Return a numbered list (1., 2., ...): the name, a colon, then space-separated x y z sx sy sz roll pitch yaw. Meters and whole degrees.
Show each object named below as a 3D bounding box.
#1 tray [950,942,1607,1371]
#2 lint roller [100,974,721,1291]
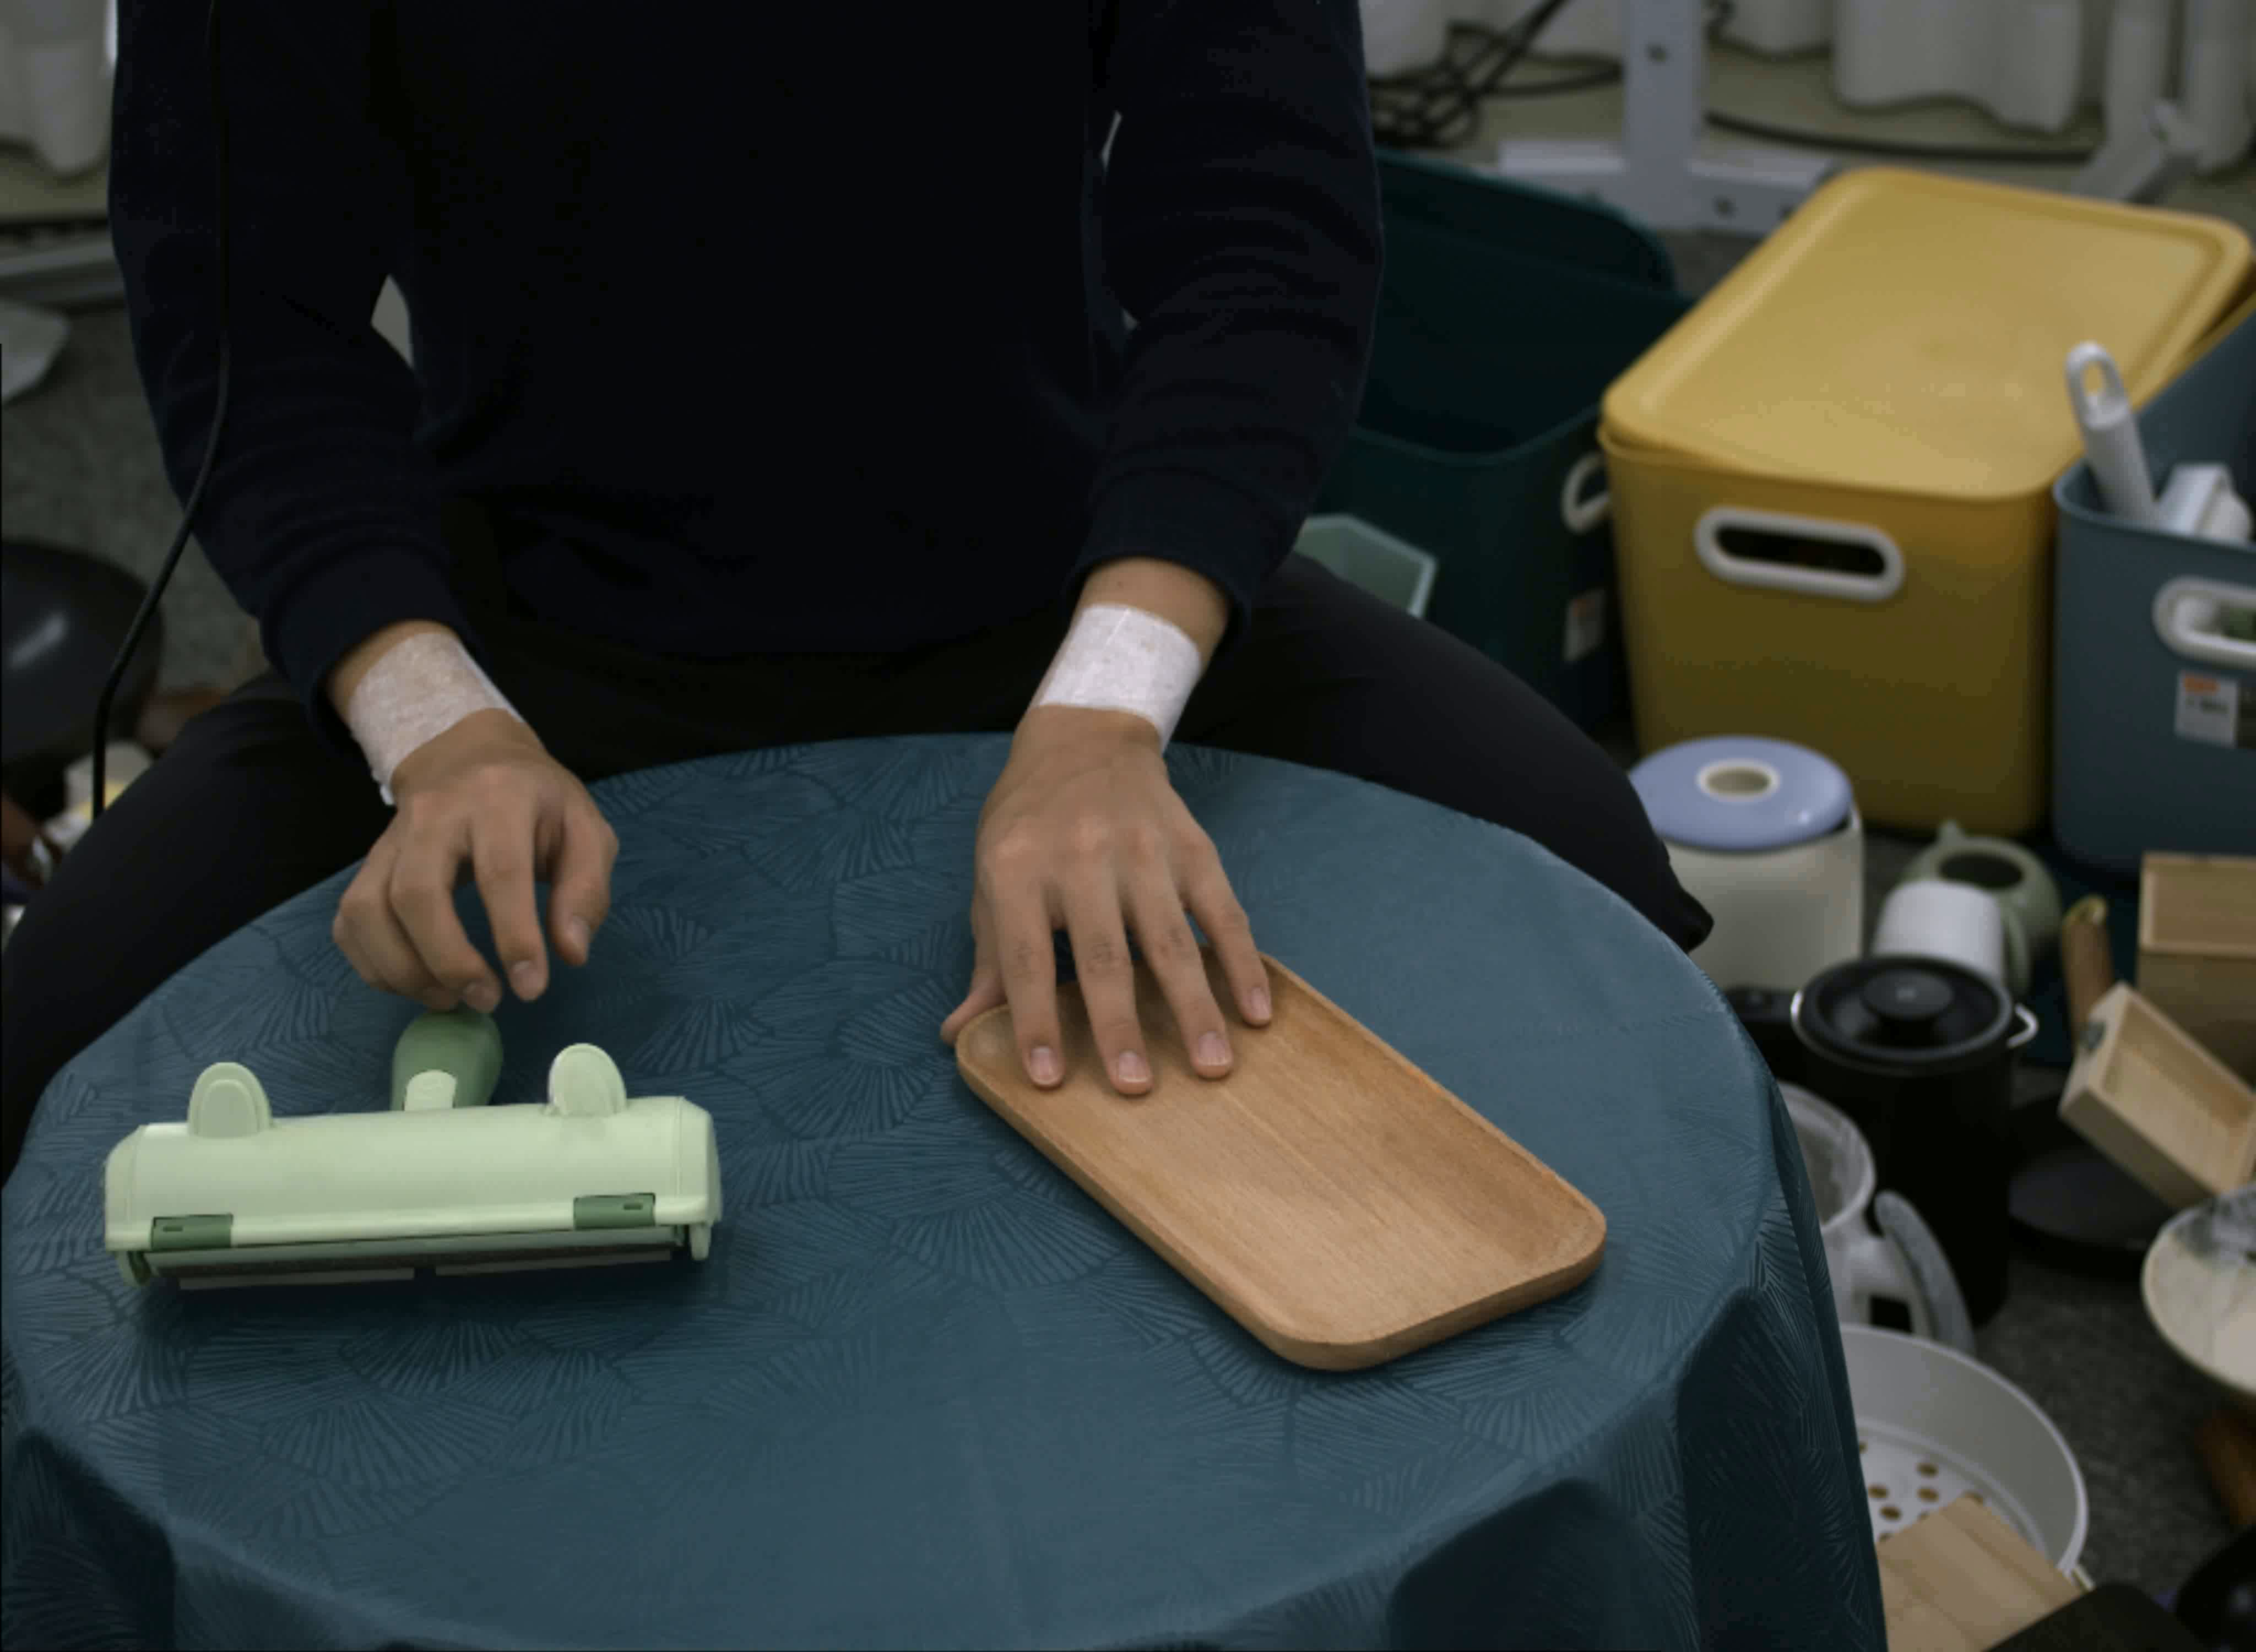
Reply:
1. tray: 0.046 0.107 1.868 0.131 0.022 0.251 -15 29 -26
2. lint roller: -0.234 0.082 1.868 0.198 0.081 0.186 -3 33 -1
